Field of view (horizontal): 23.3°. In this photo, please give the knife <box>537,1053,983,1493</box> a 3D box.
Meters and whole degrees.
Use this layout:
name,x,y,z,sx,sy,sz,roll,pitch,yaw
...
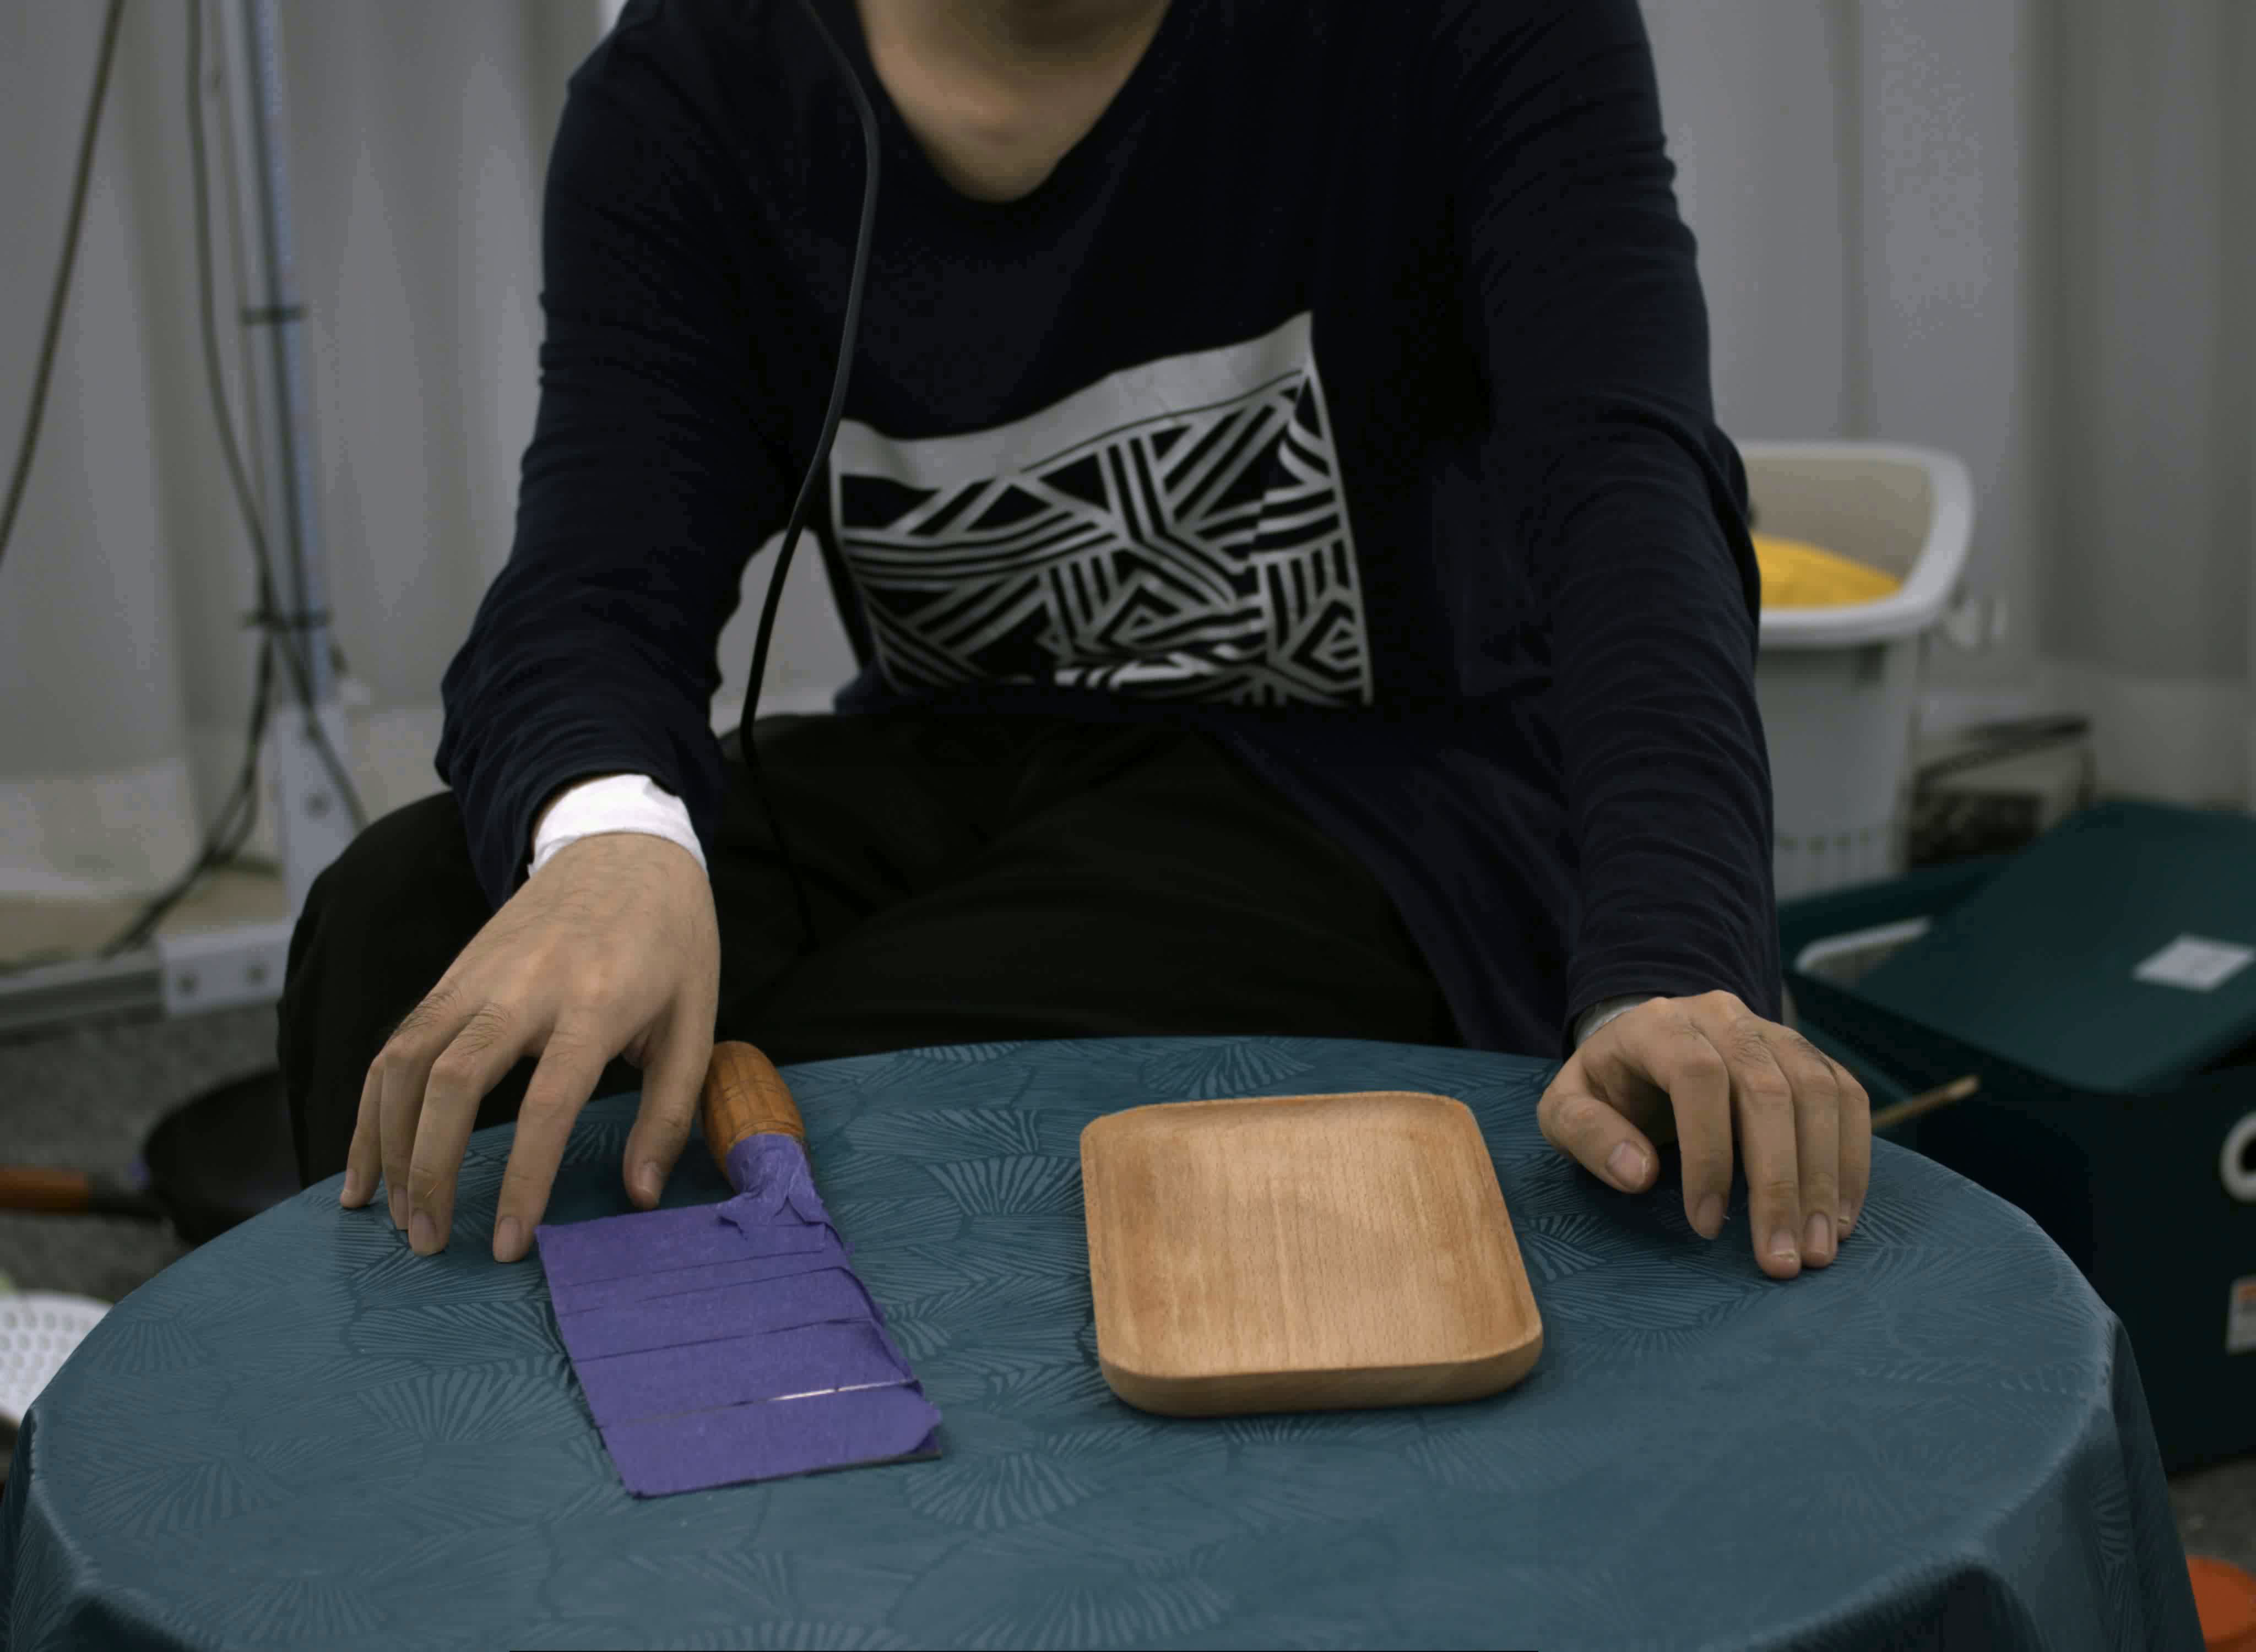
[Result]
name,x,y,z,sx,sy,sz,roll,pitch,yaw
knife,-0.126,0.129,1.634,0.103,0.032,0.318,-6,15,-13

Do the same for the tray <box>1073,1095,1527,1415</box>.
name,x,y,z,sx,sy,sz,roll,pitch,yaw
tray,0.049,0.126,1.635,0.130,0.023,0.252,-5,15,2
